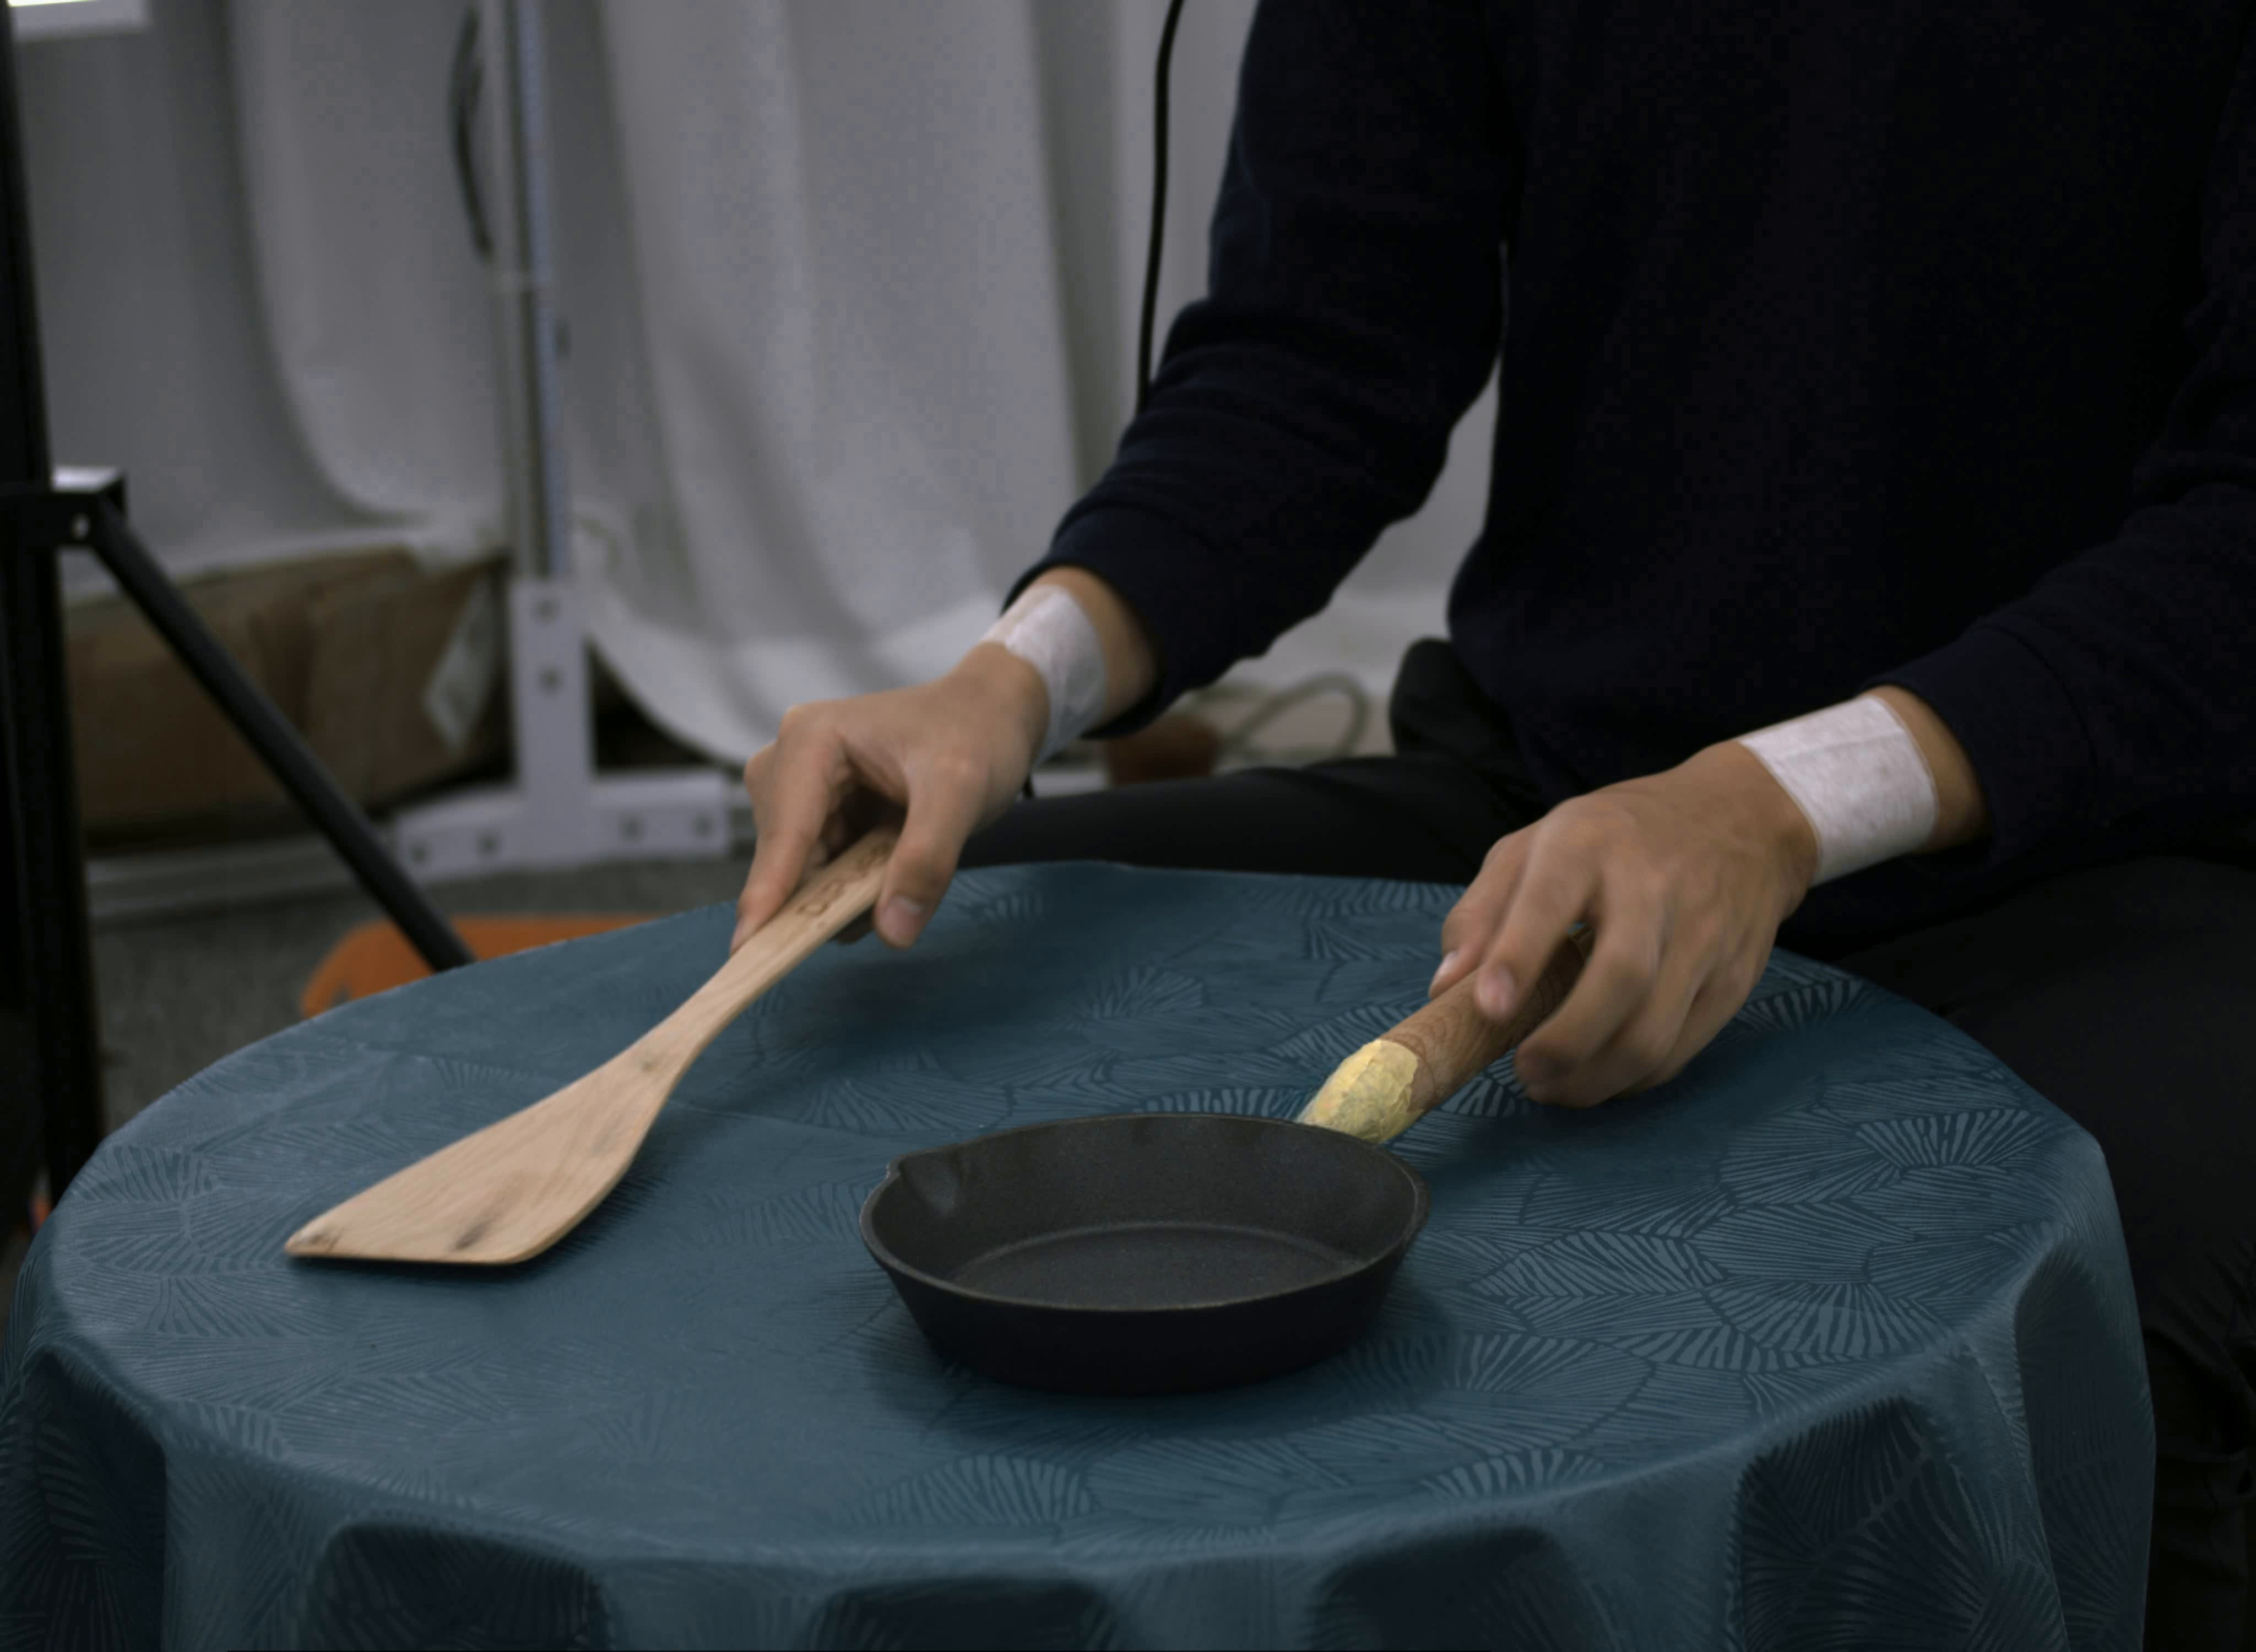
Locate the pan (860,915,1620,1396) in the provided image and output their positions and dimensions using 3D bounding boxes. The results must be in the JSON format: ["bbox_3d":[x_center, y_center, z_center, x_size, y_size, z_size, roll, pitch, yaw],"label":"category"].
[{"bbox_3d":[0.055,0.090,1.518,0.172,0.049,0.317,9,21,37],"label":"pan"}]

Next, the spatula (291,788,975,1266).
[{"bbox_3d":[-0.133,0.057,1.639,0.081,0.016,0.323,8,30,28],"label":"spatula"}]
